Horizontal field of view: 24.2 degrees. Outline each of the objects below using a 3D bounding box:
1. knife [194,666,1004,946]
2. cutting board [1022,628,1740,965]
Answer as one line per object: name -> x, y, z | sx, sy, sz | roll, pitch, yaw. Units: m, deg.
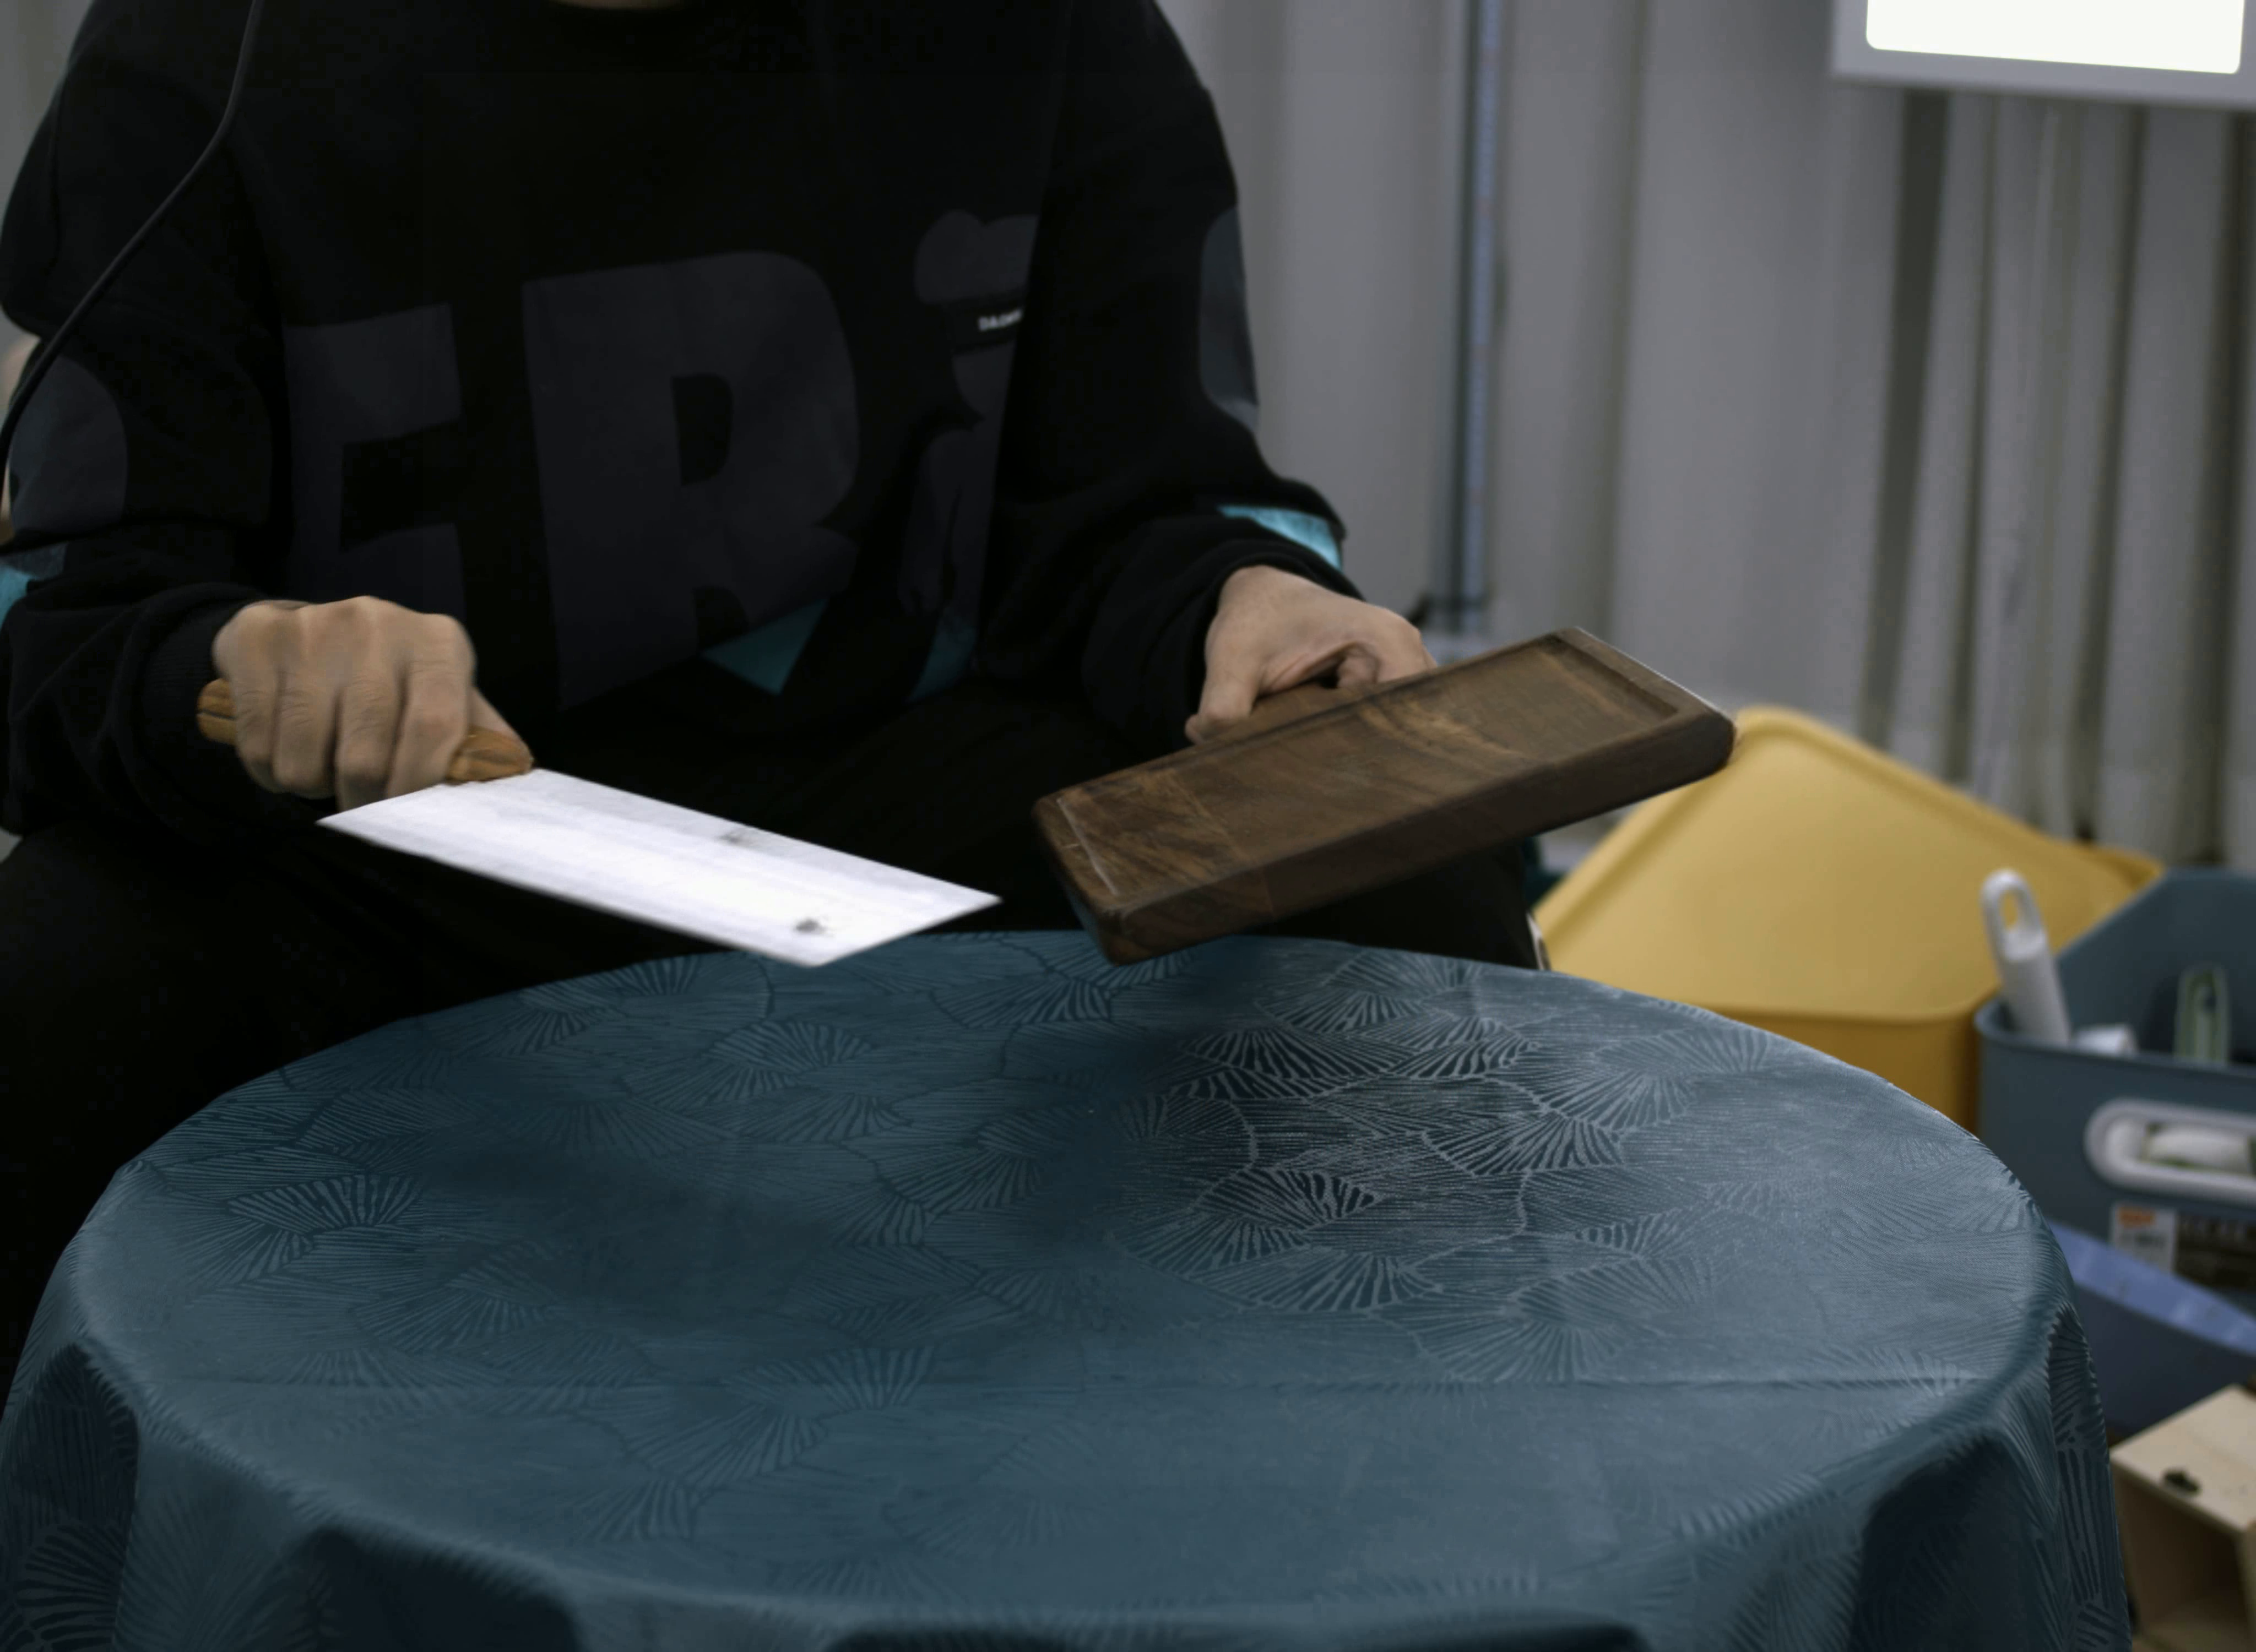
knife -> -0.181, -0.004, 1.586 | 0.302, 0.021, 0.093 | 15, 19, 31
cutting board -> 0.067, -0.019, 1.702 | 0.200, 0.023, 0.350 | -19, 9, -3
